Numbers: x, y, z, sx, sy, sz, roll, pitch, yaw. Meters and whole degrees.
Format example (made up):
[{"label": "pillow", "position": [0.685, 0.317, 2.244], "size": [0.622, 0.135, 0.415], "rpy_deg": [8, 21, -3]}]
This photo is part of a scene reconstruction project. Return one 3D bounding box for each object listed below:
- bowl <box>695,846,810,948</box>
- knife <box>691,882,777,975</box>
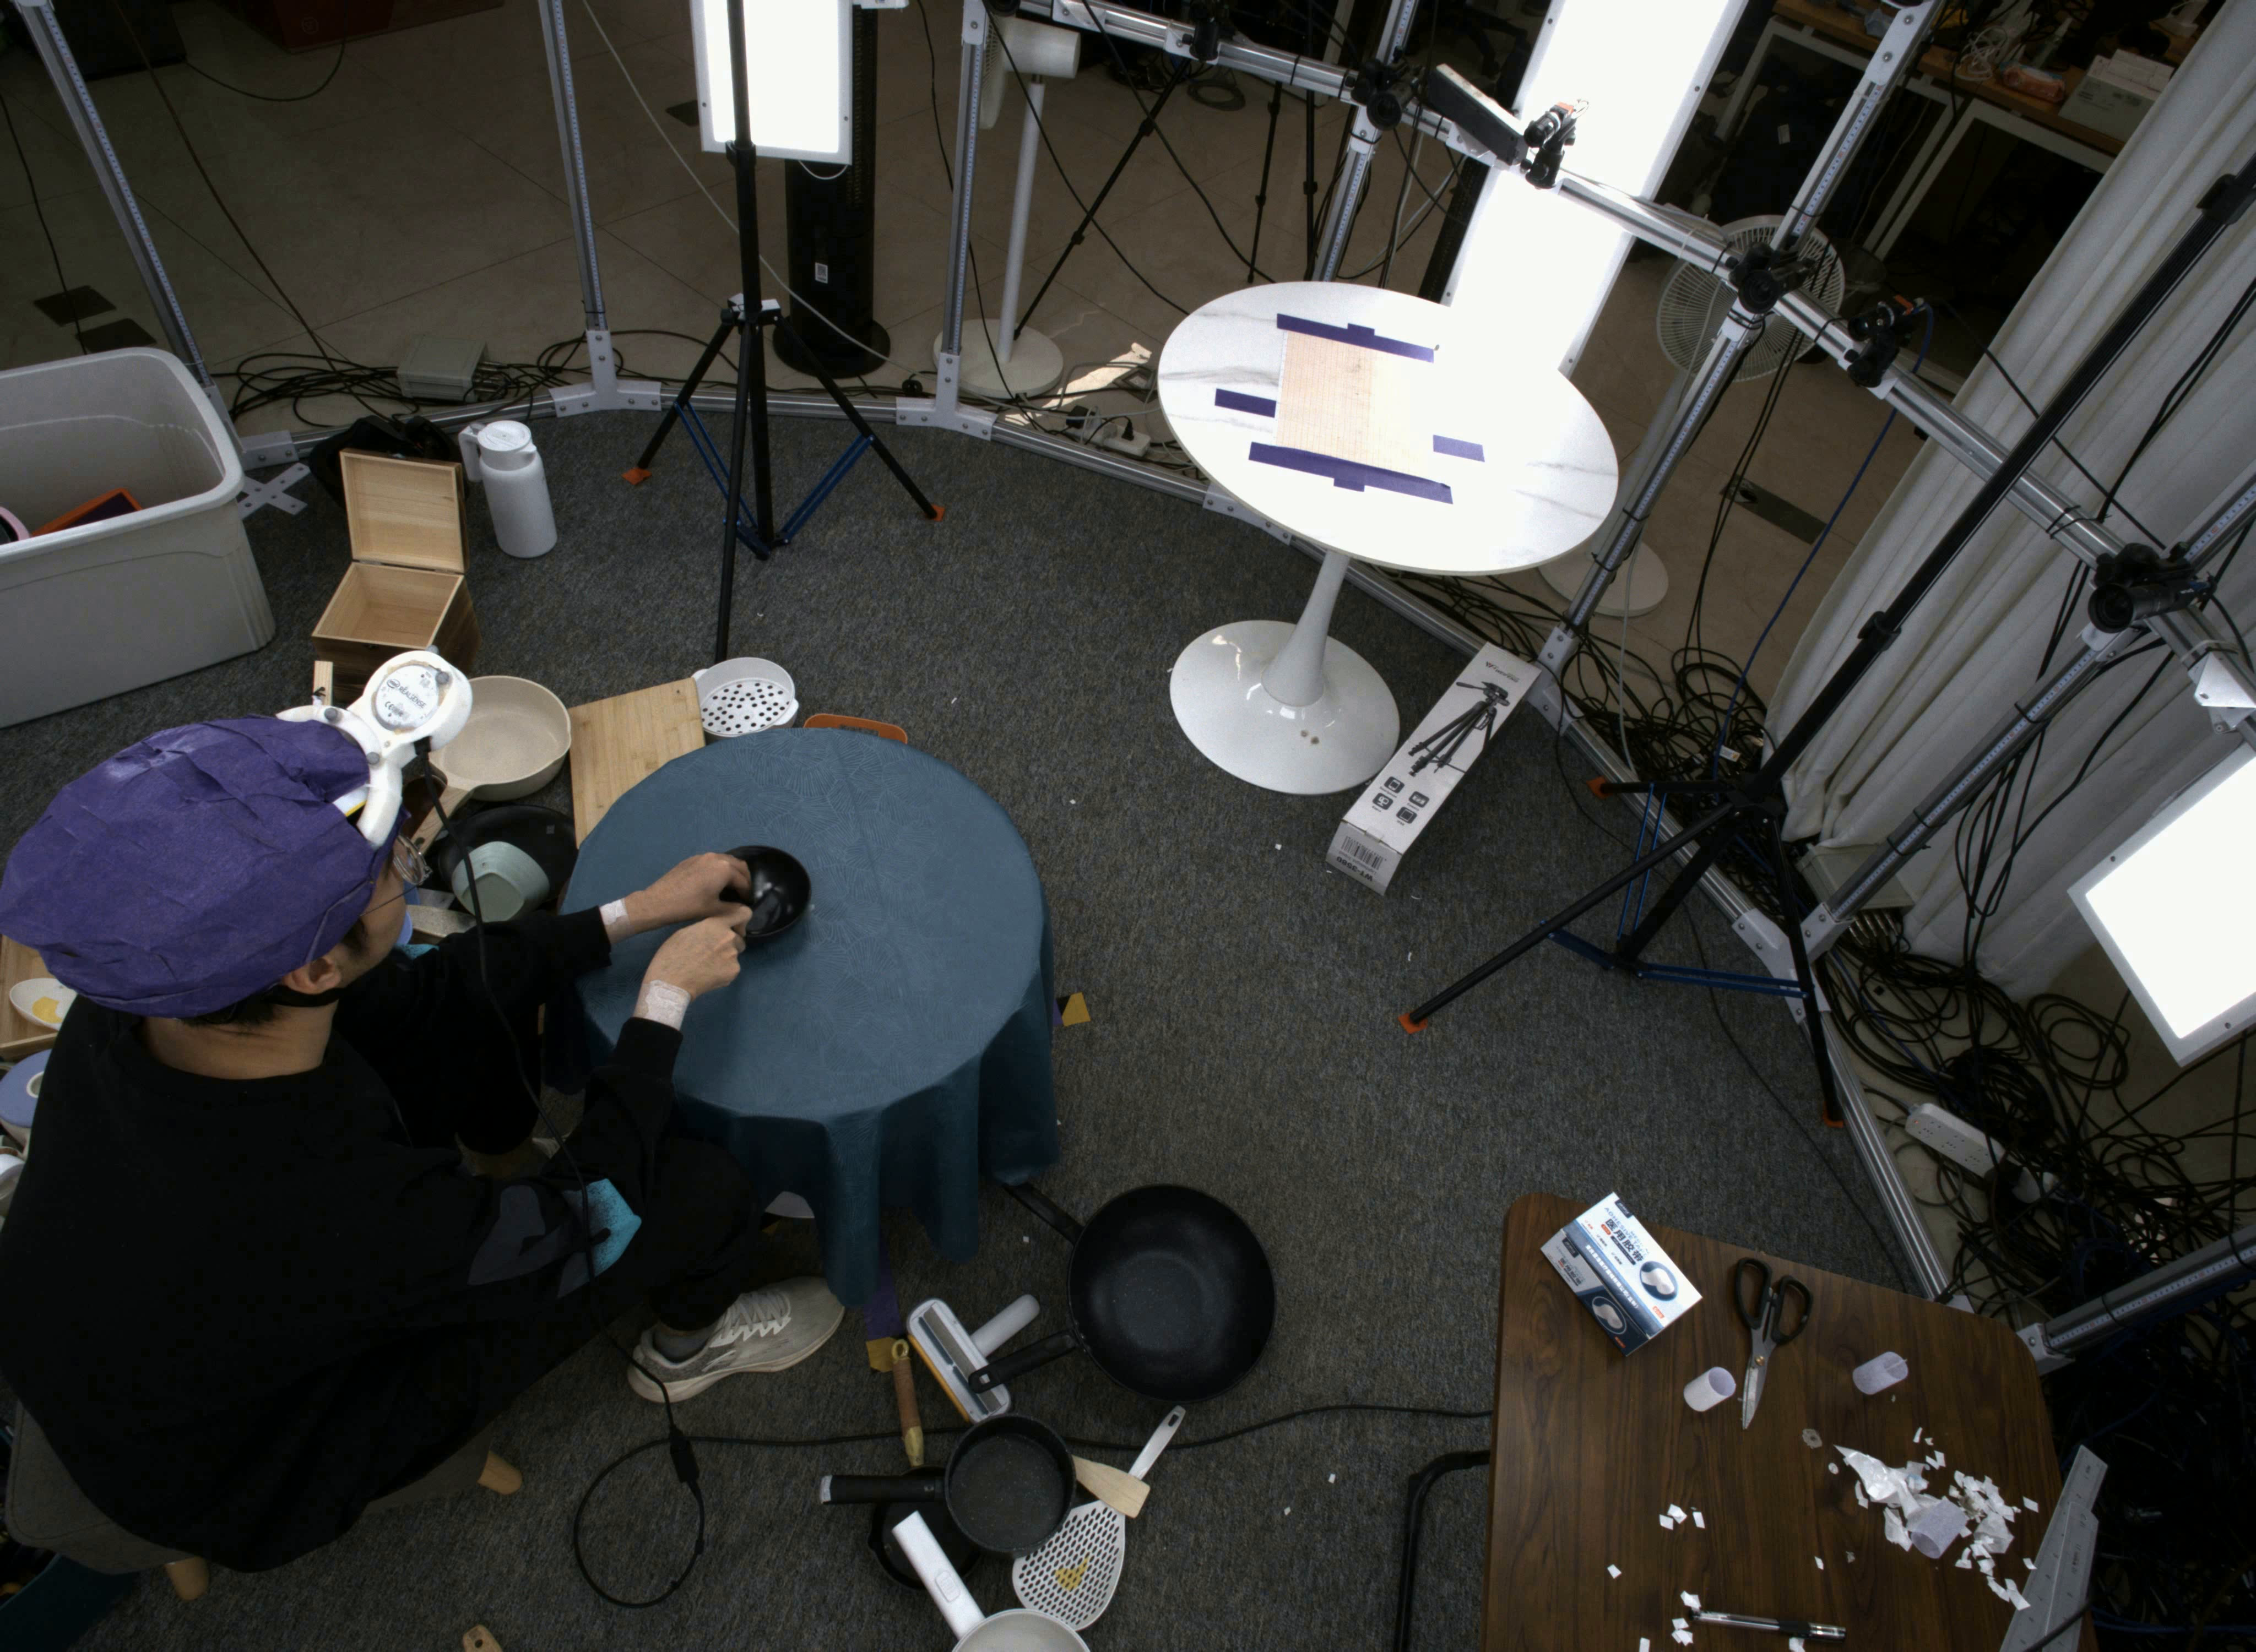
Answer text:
[{"label": "bowl", "position": [-0.464, 0.094, 1.604], "size": [0.140, 0.050, 0.138], "rpy_deg": [7, 56, -8]}, {"label": "knife", "position": [-0.460, 0.112, 1.526], "size": [0.017, 0.026, 0.223], "rpy_deg": [28, 27, -2]}]
